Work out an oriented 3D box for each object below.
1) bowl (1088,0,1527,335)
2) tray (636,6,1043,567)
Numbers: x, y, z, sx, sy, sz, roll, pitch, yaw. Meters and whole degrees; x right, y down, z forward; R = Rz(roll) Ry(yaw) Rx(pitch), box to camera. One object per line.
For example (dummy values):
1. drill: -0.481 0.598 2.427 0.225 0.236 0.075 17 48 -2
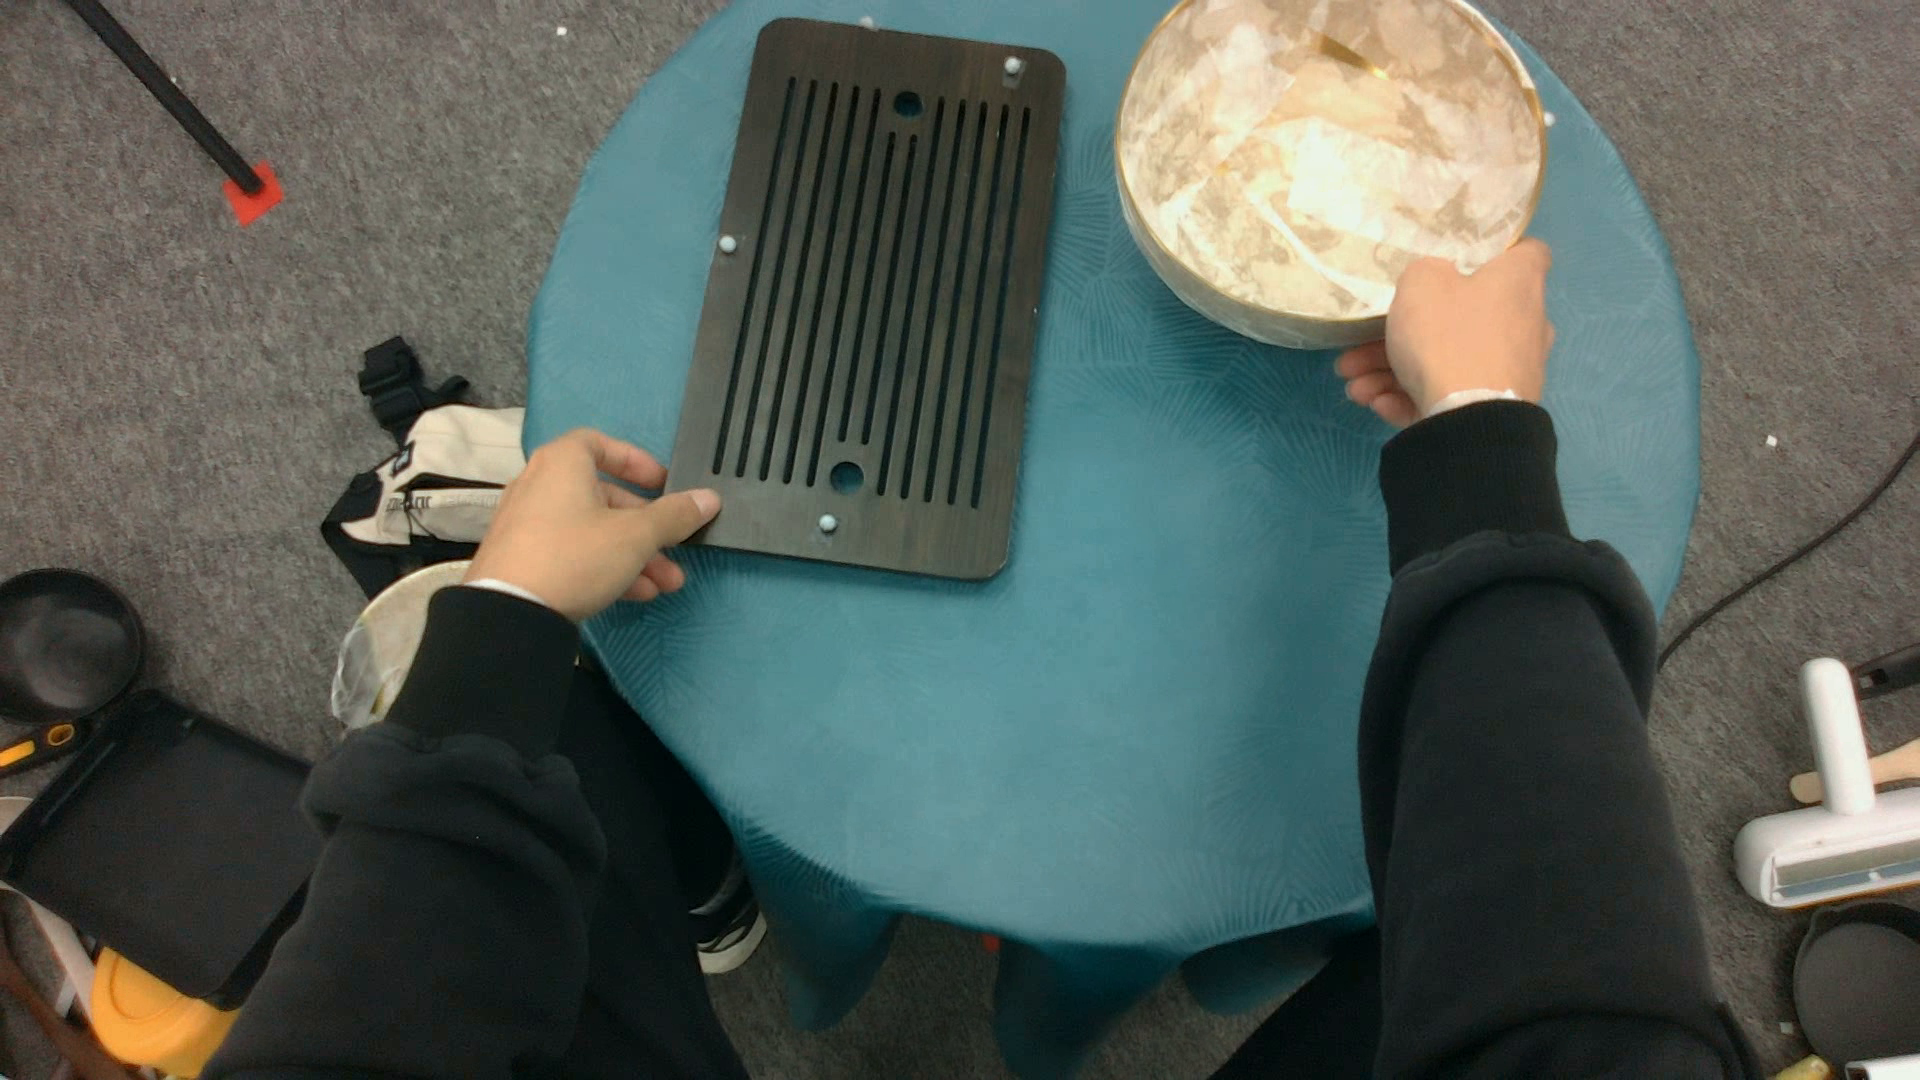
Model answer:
1. bowl: 0.161 -0.182 0.690 0.215 0.094 0.215 0 71 -1
2. tray: -0.055 -0.138 0.711 0.170 0.018 0.307 7 71 0
